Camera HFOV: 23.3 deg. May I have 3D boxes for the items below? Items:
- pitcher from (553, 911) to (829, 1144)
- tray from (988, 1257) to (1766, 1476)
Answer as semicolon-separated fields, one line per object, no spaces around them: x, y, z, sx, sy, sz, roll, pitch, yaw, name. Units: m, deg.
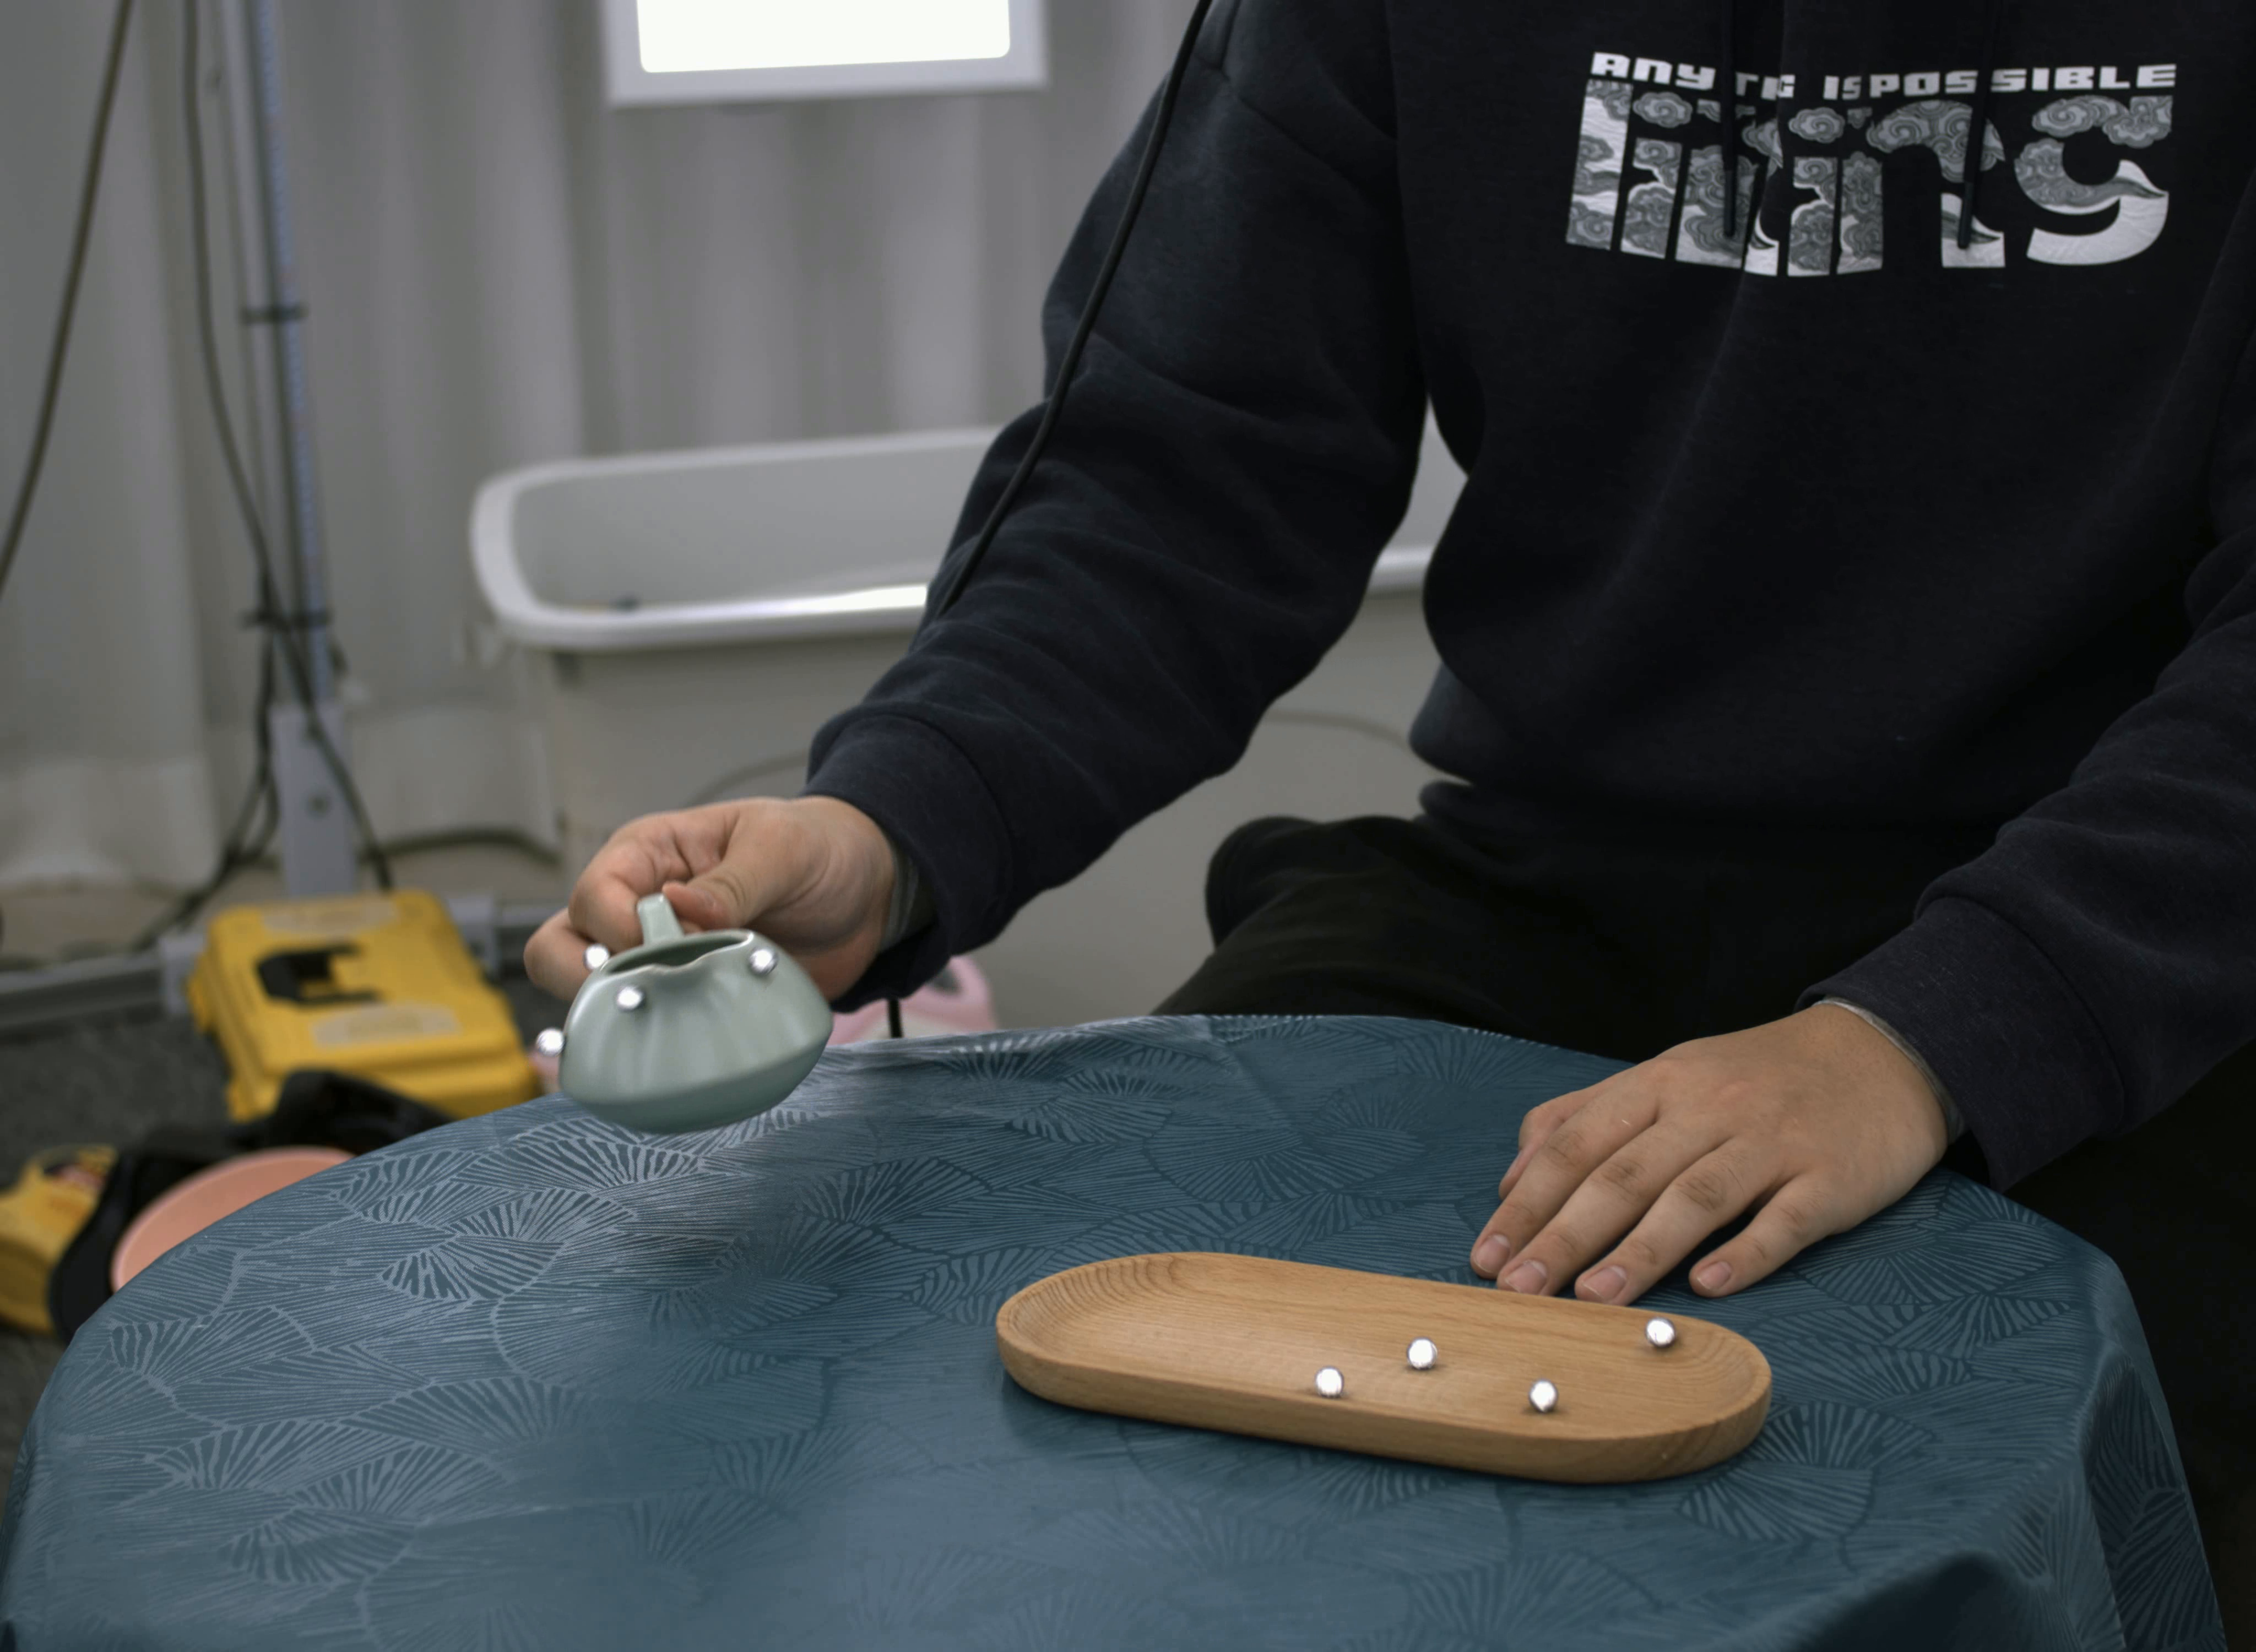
-0.137;0.062;1.682;0.086;0.060;0.108;-13;10;-8;pitcher
0.068;0.152;1.537;0.231;0.020;0.102;3;14;28;tray
